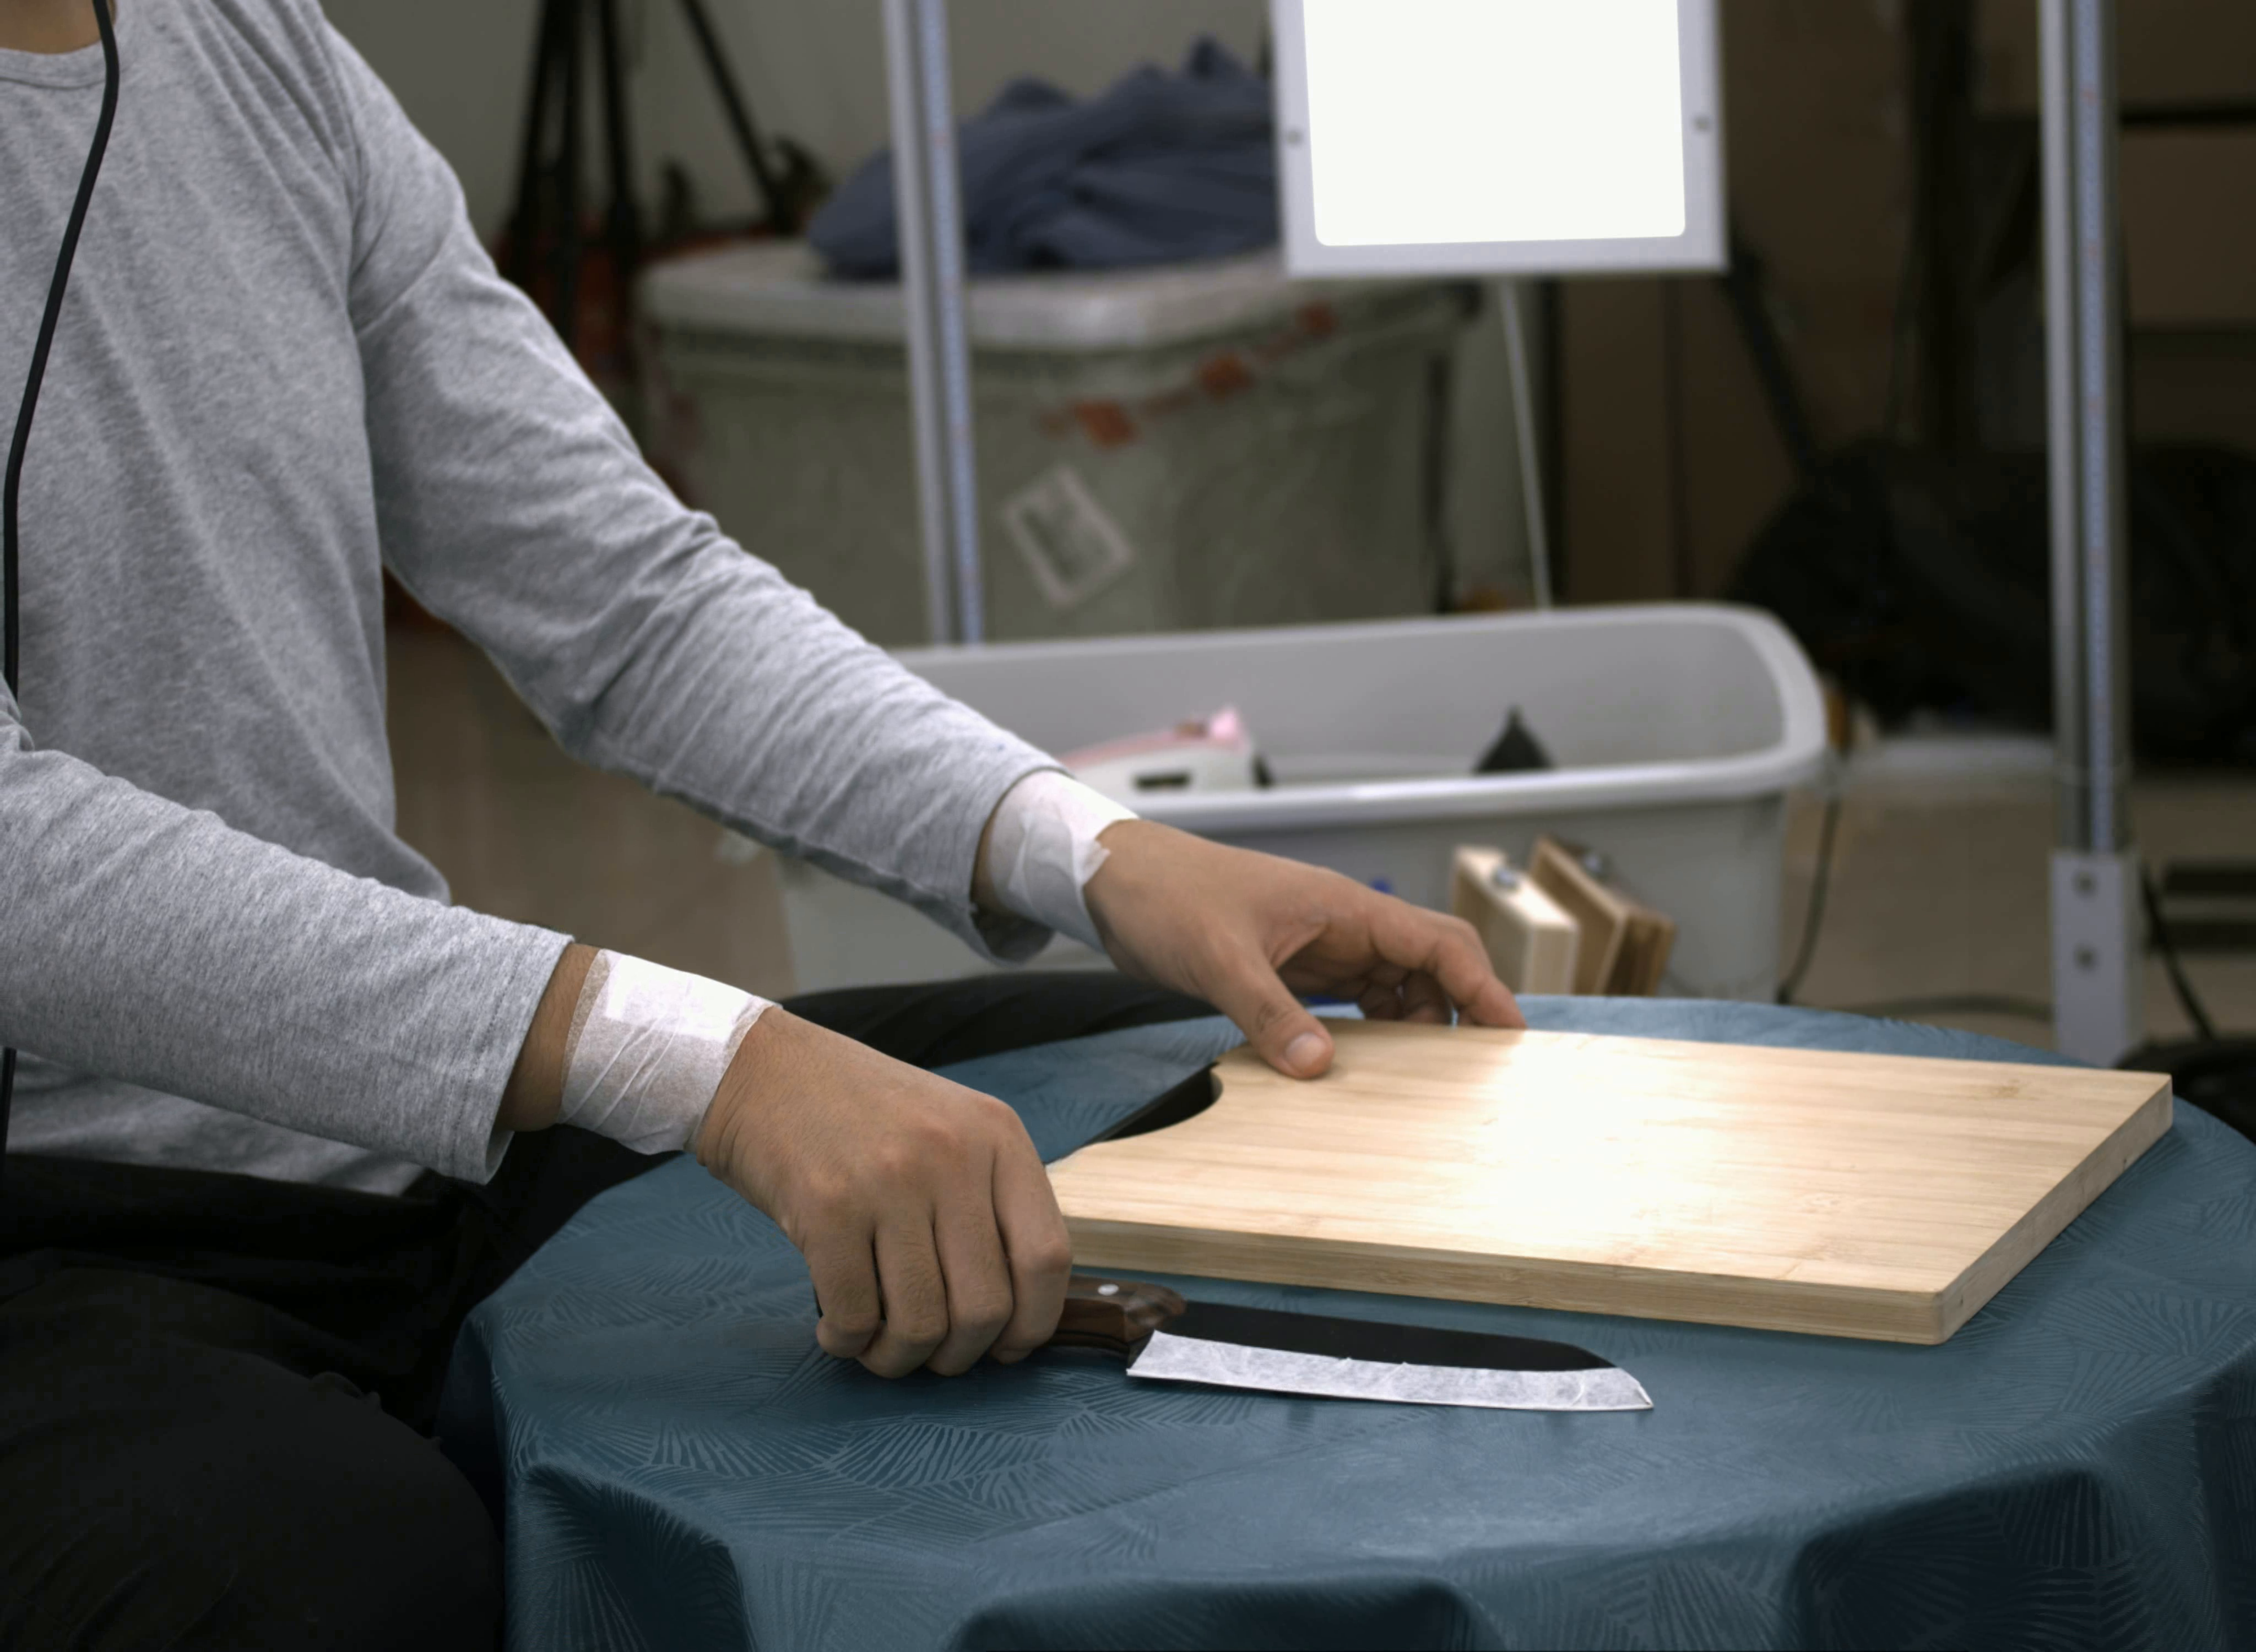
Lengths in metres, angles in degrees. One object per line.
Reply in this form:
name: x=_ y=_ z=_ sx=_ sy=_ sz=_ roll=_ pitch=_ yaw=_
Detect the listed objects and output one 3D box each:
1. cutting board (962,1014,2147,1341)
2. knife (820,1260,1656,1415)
cutting board: x=0.150 y=0.115 z=1.863 sx=0.355 sy=0.023 sz=0.245 roll=2 pitch=15 yaw=29
knife: x=0.030 y=0.161 z=1.716 sx=0.294 sy=0.020 sz=0.049 roll=5 pitch=29 yaw=27
